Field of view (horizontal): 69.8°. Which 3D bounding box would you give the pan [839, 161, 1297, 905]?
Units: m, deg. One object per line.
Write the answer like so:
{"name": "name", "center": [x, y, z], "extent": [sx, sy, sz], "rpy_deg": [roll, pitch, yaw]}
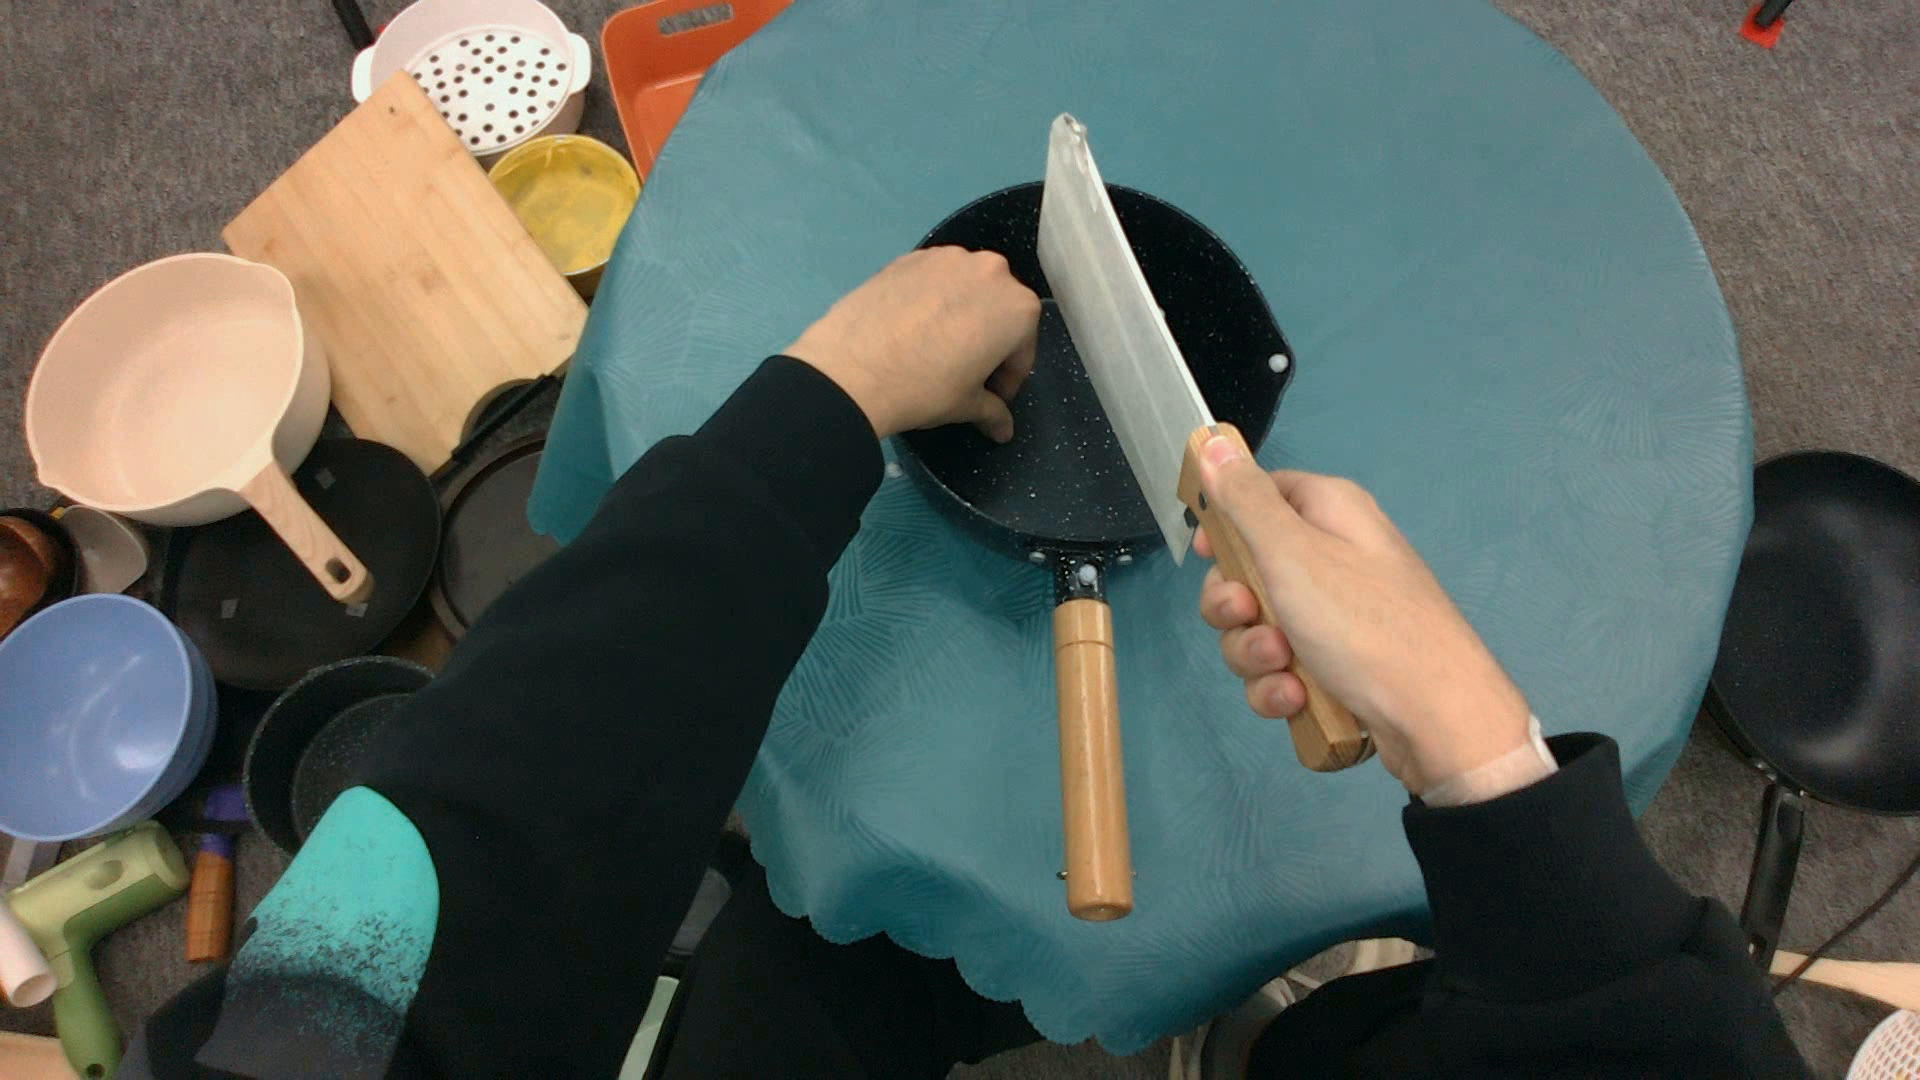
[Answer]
{"name": "pan", "center": [0.050, -0.007, 0.623], "extent": [0.207, 0.108, 0.344], "rpy_deg": [0, 69, -4]}

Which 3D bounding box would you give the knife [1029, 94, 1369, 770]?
{"name": "knife", "center": [0.078, -0.051, 0.536], "extent": [0.022, 0.113, 0.316], "rpy_deg": [-13, 54, -10]}
